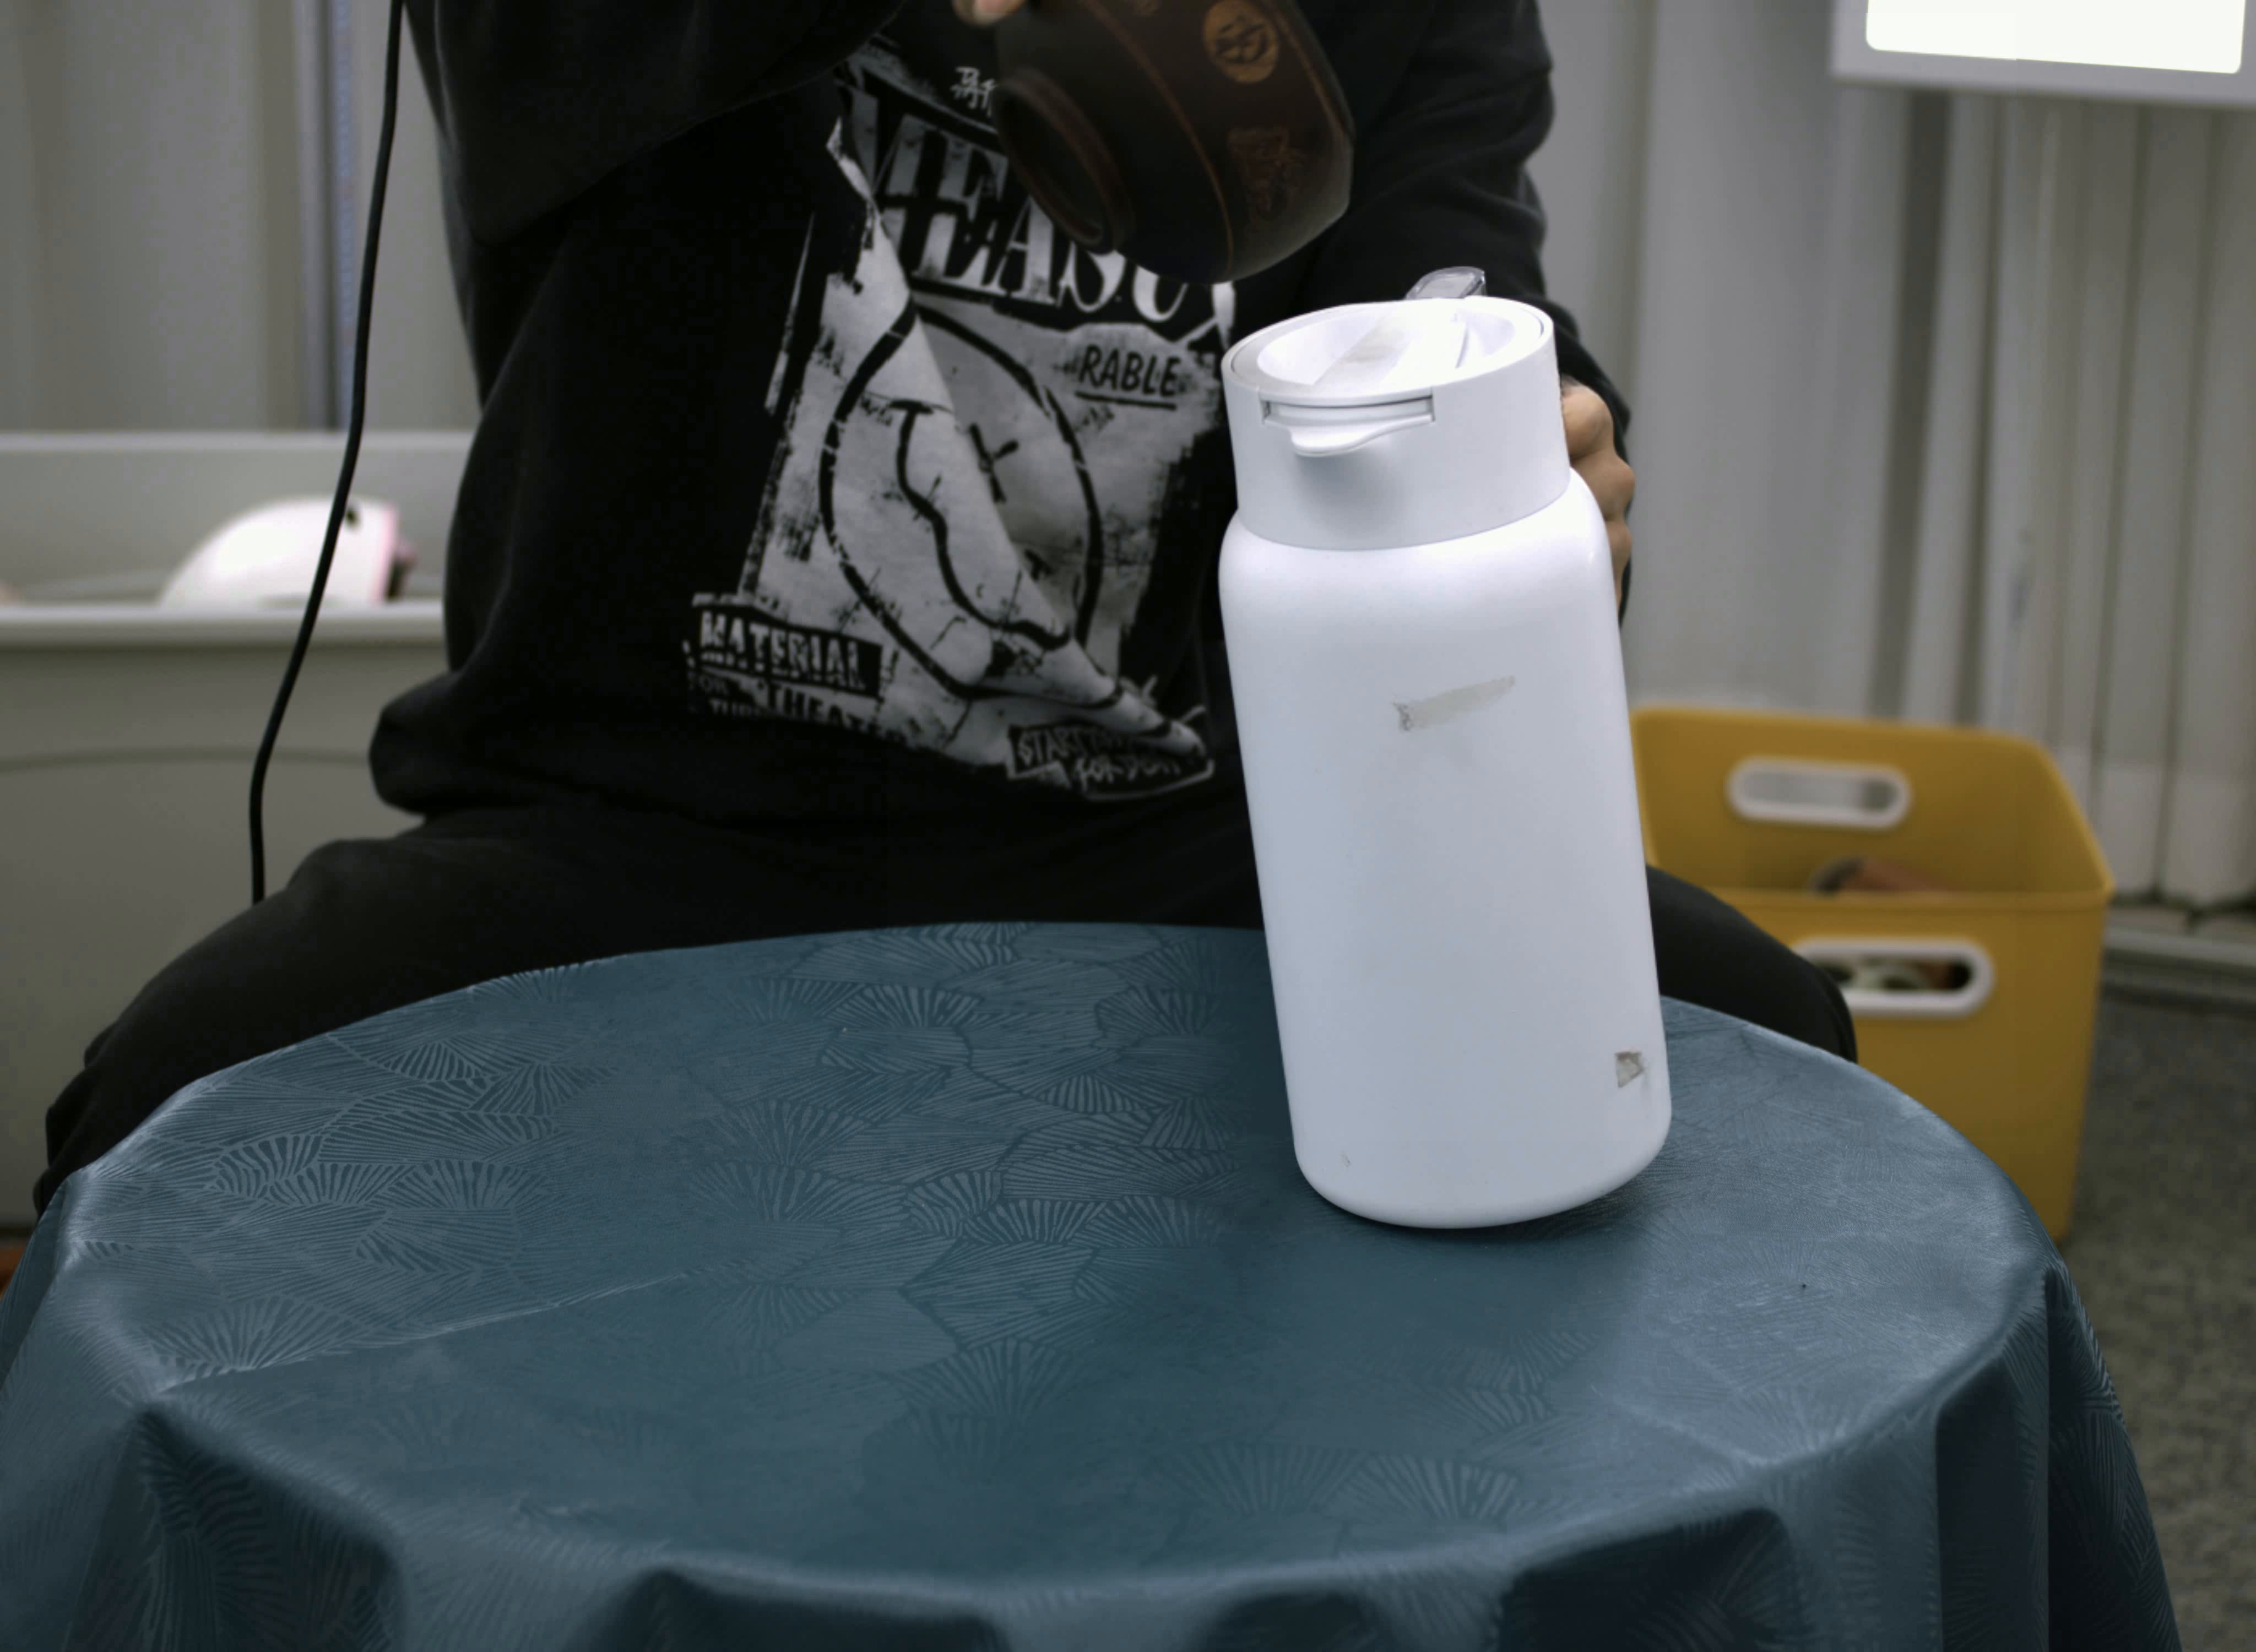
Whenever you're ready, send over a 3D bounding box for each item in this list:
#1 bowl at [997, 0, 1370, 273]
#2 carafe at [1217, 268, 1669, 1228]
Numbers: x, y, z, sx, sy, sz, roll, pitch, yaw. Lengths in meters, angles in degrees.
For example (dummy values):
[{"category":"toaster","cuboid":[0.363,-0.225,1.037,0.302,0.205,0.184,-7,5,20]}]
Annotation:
[{"category":"bowl","cuboid":[0.007,-0.208,1.489,0.070,0.119,0.116,-35,29,-17]},{"category":"carafe","cuboid":[0.097,-0.027,1.597,0.123,0.271,0.172,-2,22,20]}]
